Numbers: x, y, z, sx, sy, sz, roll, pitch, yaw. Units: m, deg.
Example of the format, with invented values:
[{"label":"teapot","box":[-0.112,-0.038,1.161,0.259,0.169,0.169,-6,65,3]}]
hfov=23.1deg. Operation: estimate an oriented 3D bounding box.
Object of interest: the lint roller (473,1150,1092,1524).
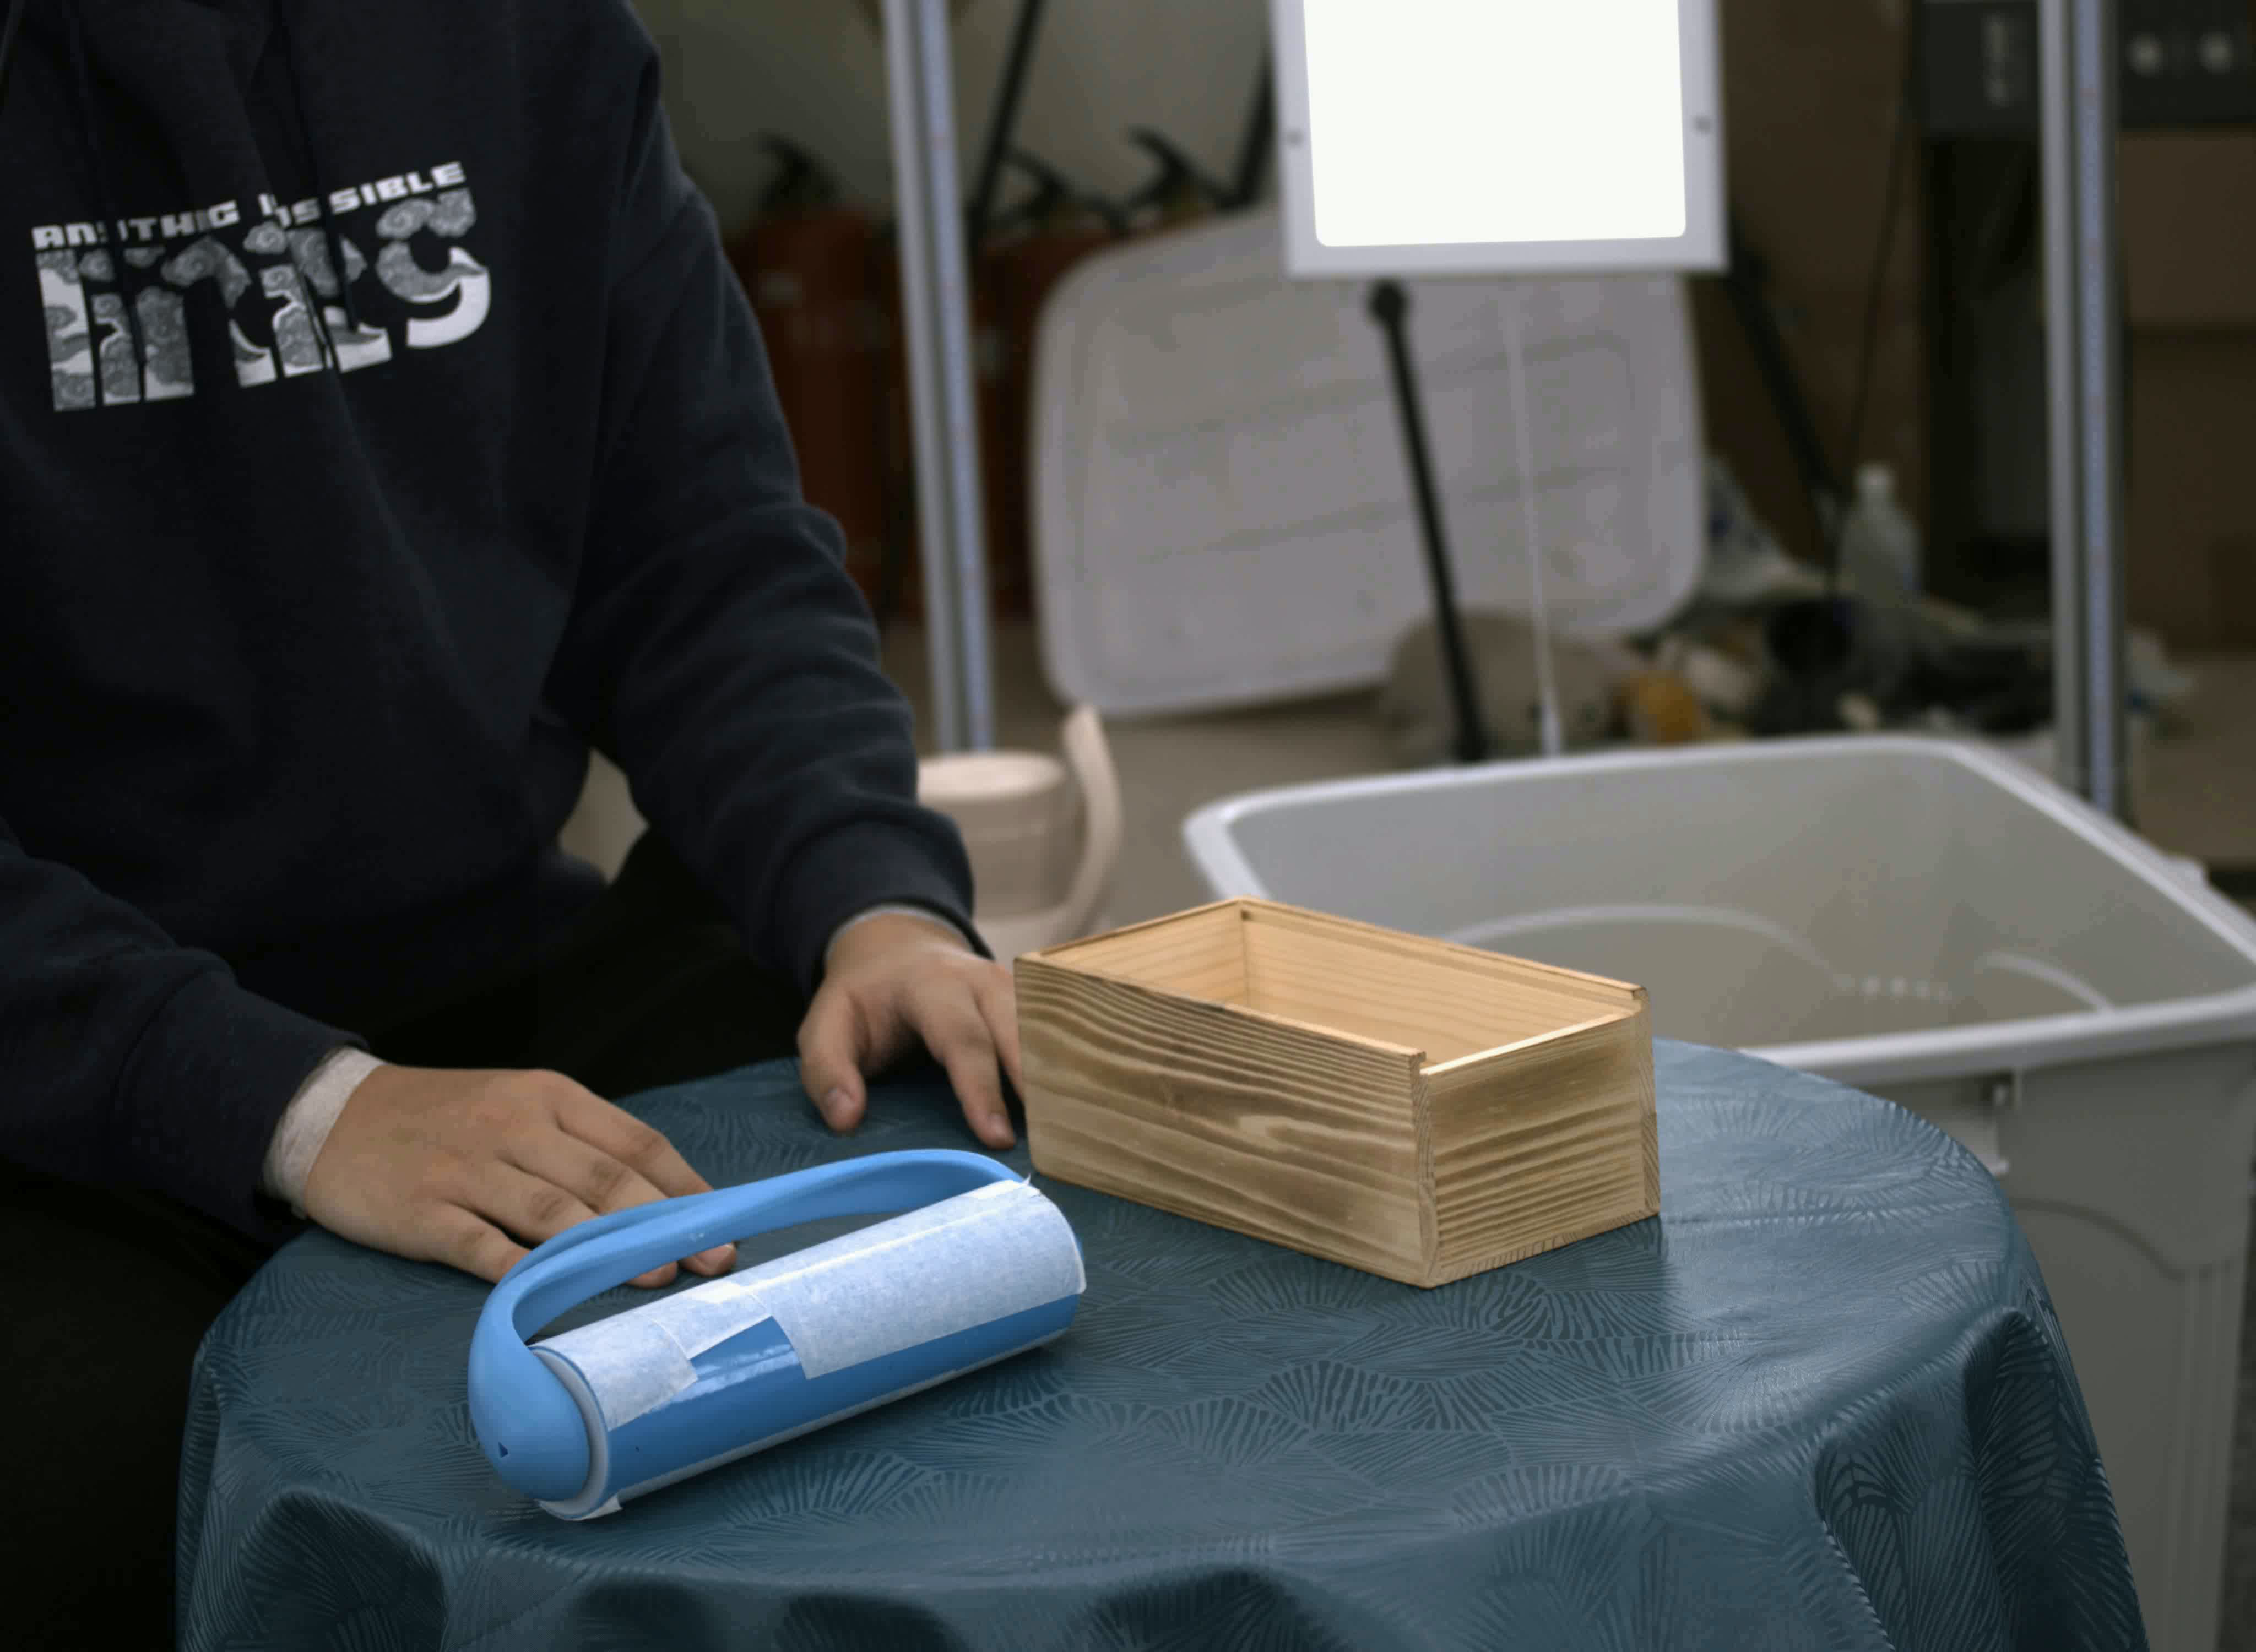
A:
[{"label":"lint roller","box":[-0.142,0.149,1.728,0.223,0.068,0.184,-20,22,-41]}]

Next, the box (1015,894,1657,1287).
[{"label":"box","box":[0.068,0.087,1.870,0.105,0.080,0.216,-14,16,-36]}]
